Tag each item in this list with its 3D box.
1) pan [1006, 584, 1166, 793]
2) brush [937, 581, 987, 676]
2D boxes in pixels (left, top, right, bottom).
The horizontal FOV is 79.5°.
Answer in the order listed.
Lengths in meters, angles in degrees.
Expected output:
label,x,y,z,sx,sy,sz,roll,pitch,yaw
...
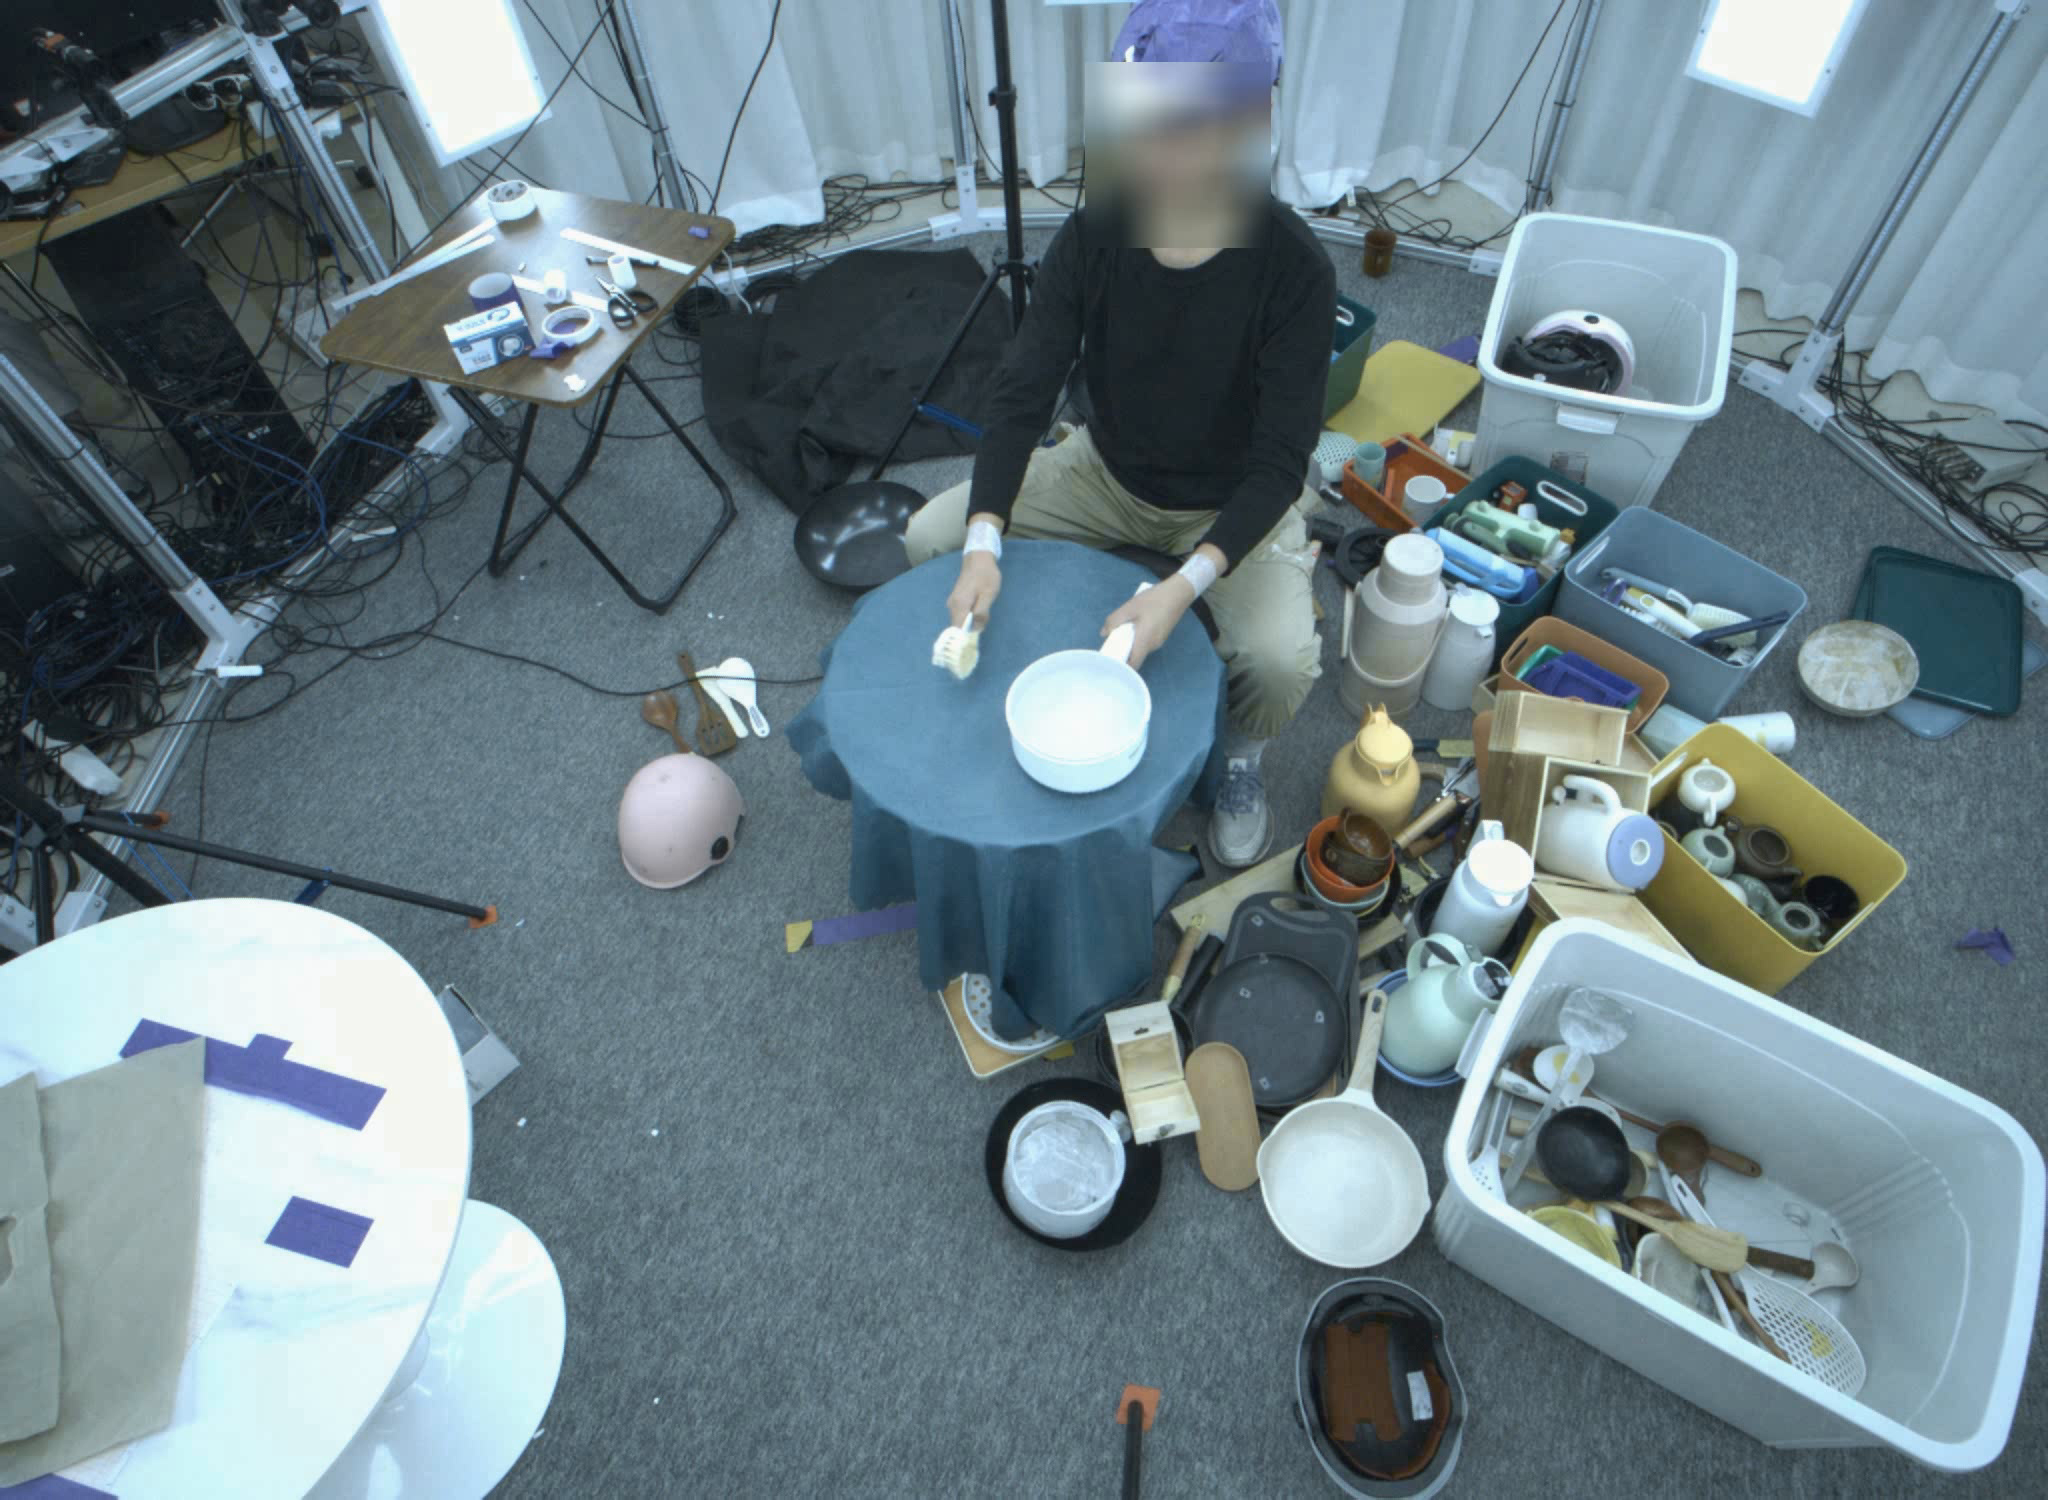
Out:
label,x,y,z,sx,sy,sz,roll,pitch,yaw
pan,0.113,-0.091,1.790,0.198,0.103,0.355,21,57,18
brush,-0.072,-0.188,1.801,0.056,0.068,0.265,20,29,0
